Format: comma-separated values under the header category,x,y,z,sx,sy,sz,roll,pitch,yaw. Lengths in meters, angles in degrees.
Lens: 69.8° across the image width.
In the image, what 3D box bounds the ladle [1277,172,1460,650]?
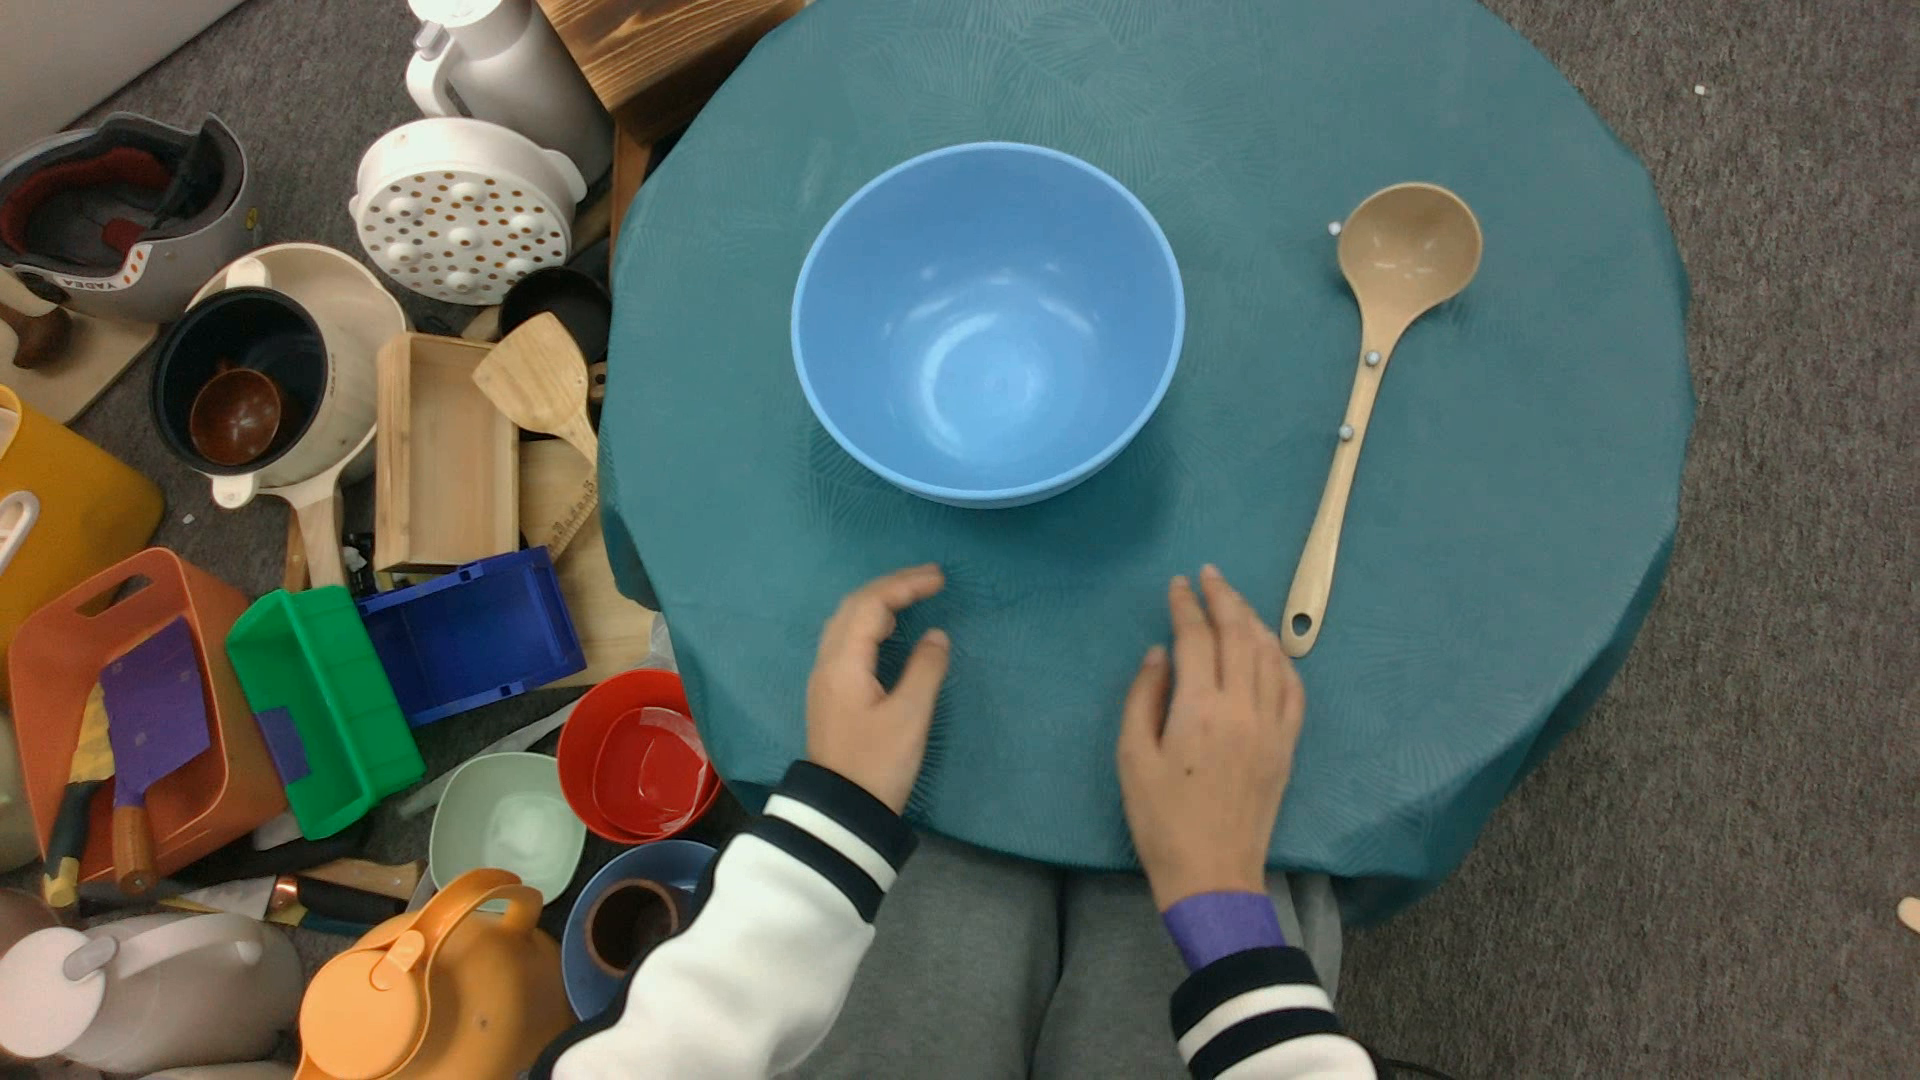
category,x,y,z,sx,sy,sz,roll,pitch,yaw
ladle,0.201,-0.071,0.709,0.072,0.072,0.255,14,73,9

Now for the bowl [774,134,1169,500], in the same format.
category,x,y,z,sx,sy,sz,roll,pitch,yaw
bowl,0.007,-0.103,0.726,0.196,0.095,0.197,-1,72,2
